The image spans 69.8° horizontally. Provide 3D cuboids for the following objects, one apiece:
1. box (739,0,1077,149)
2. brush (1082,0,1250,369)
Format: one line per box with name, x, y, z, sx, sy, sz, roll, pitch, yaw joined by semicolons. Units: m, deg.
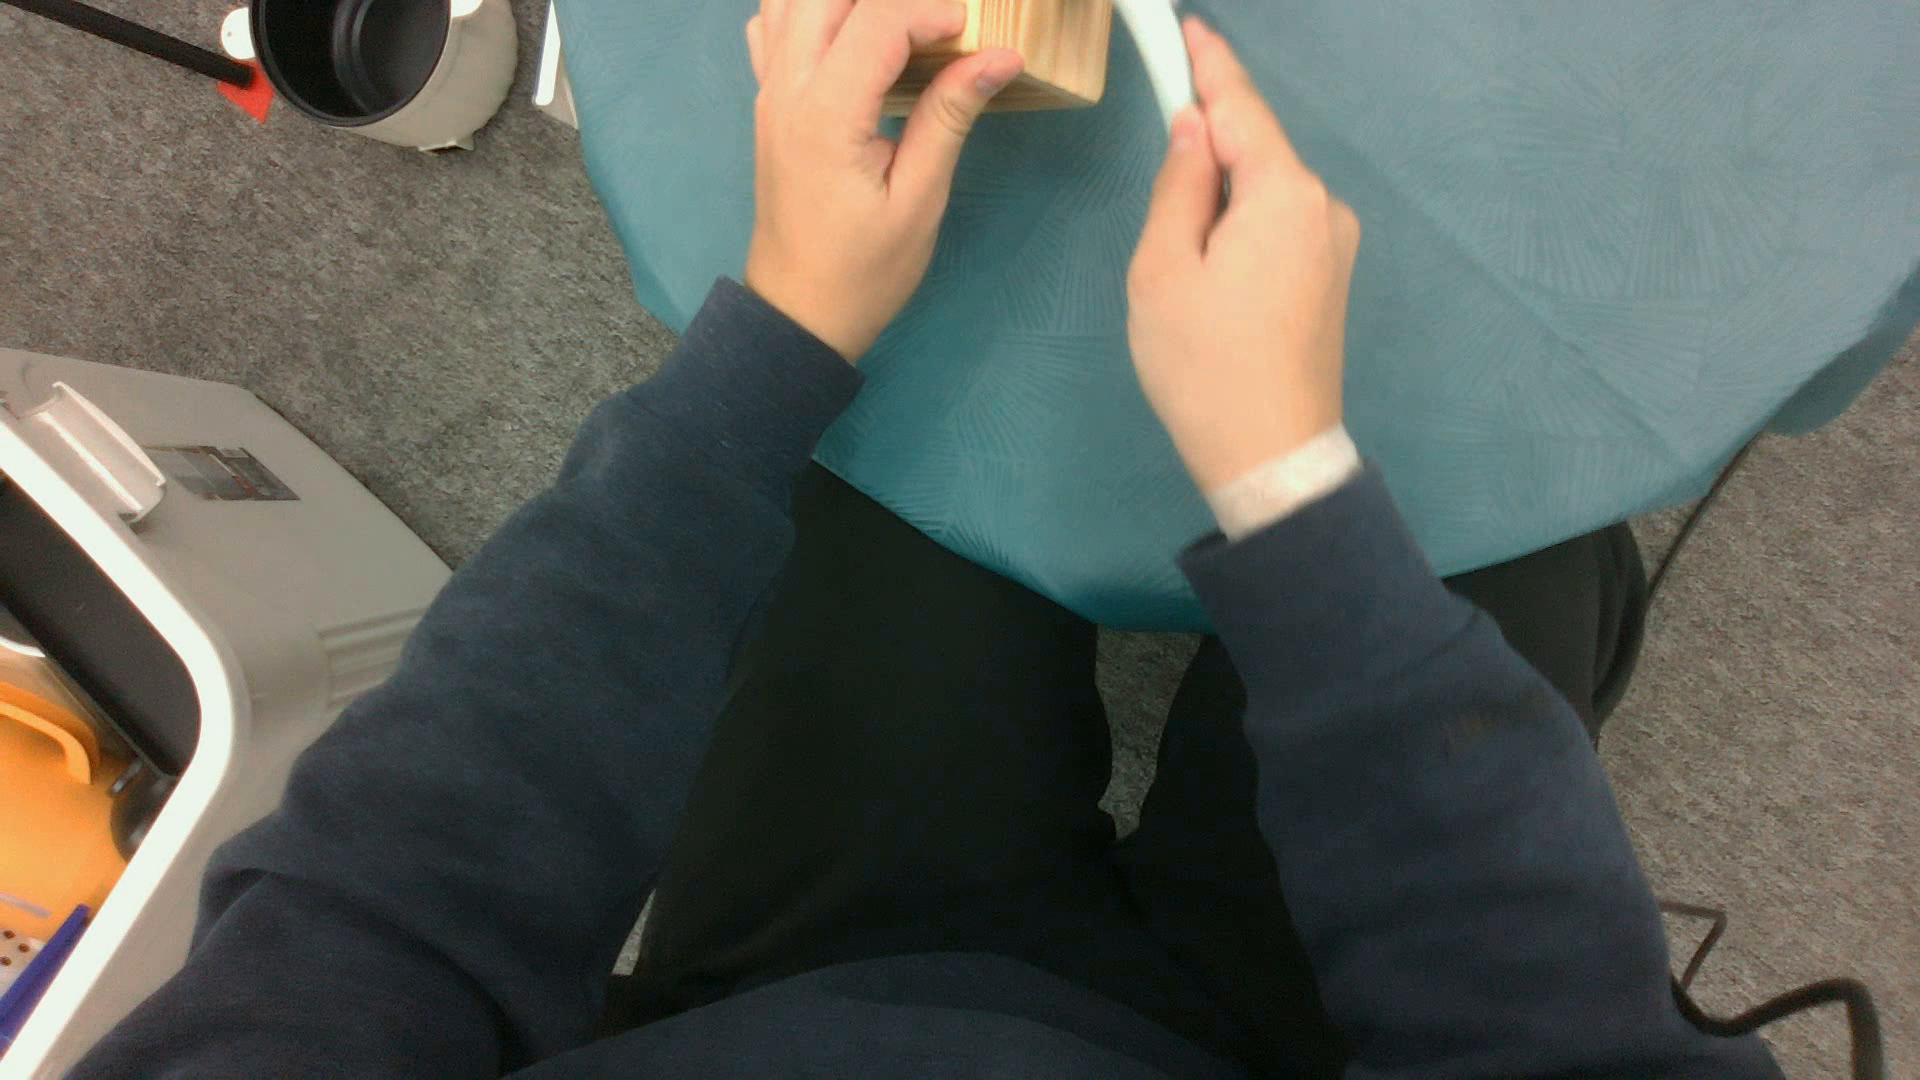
box;-0.017;-0.267;0.527;0.107;0.080;0.211;6;96;38
brush;0.057;-0.170;0.485;0.049;0.038;0.228;-13;97;46
